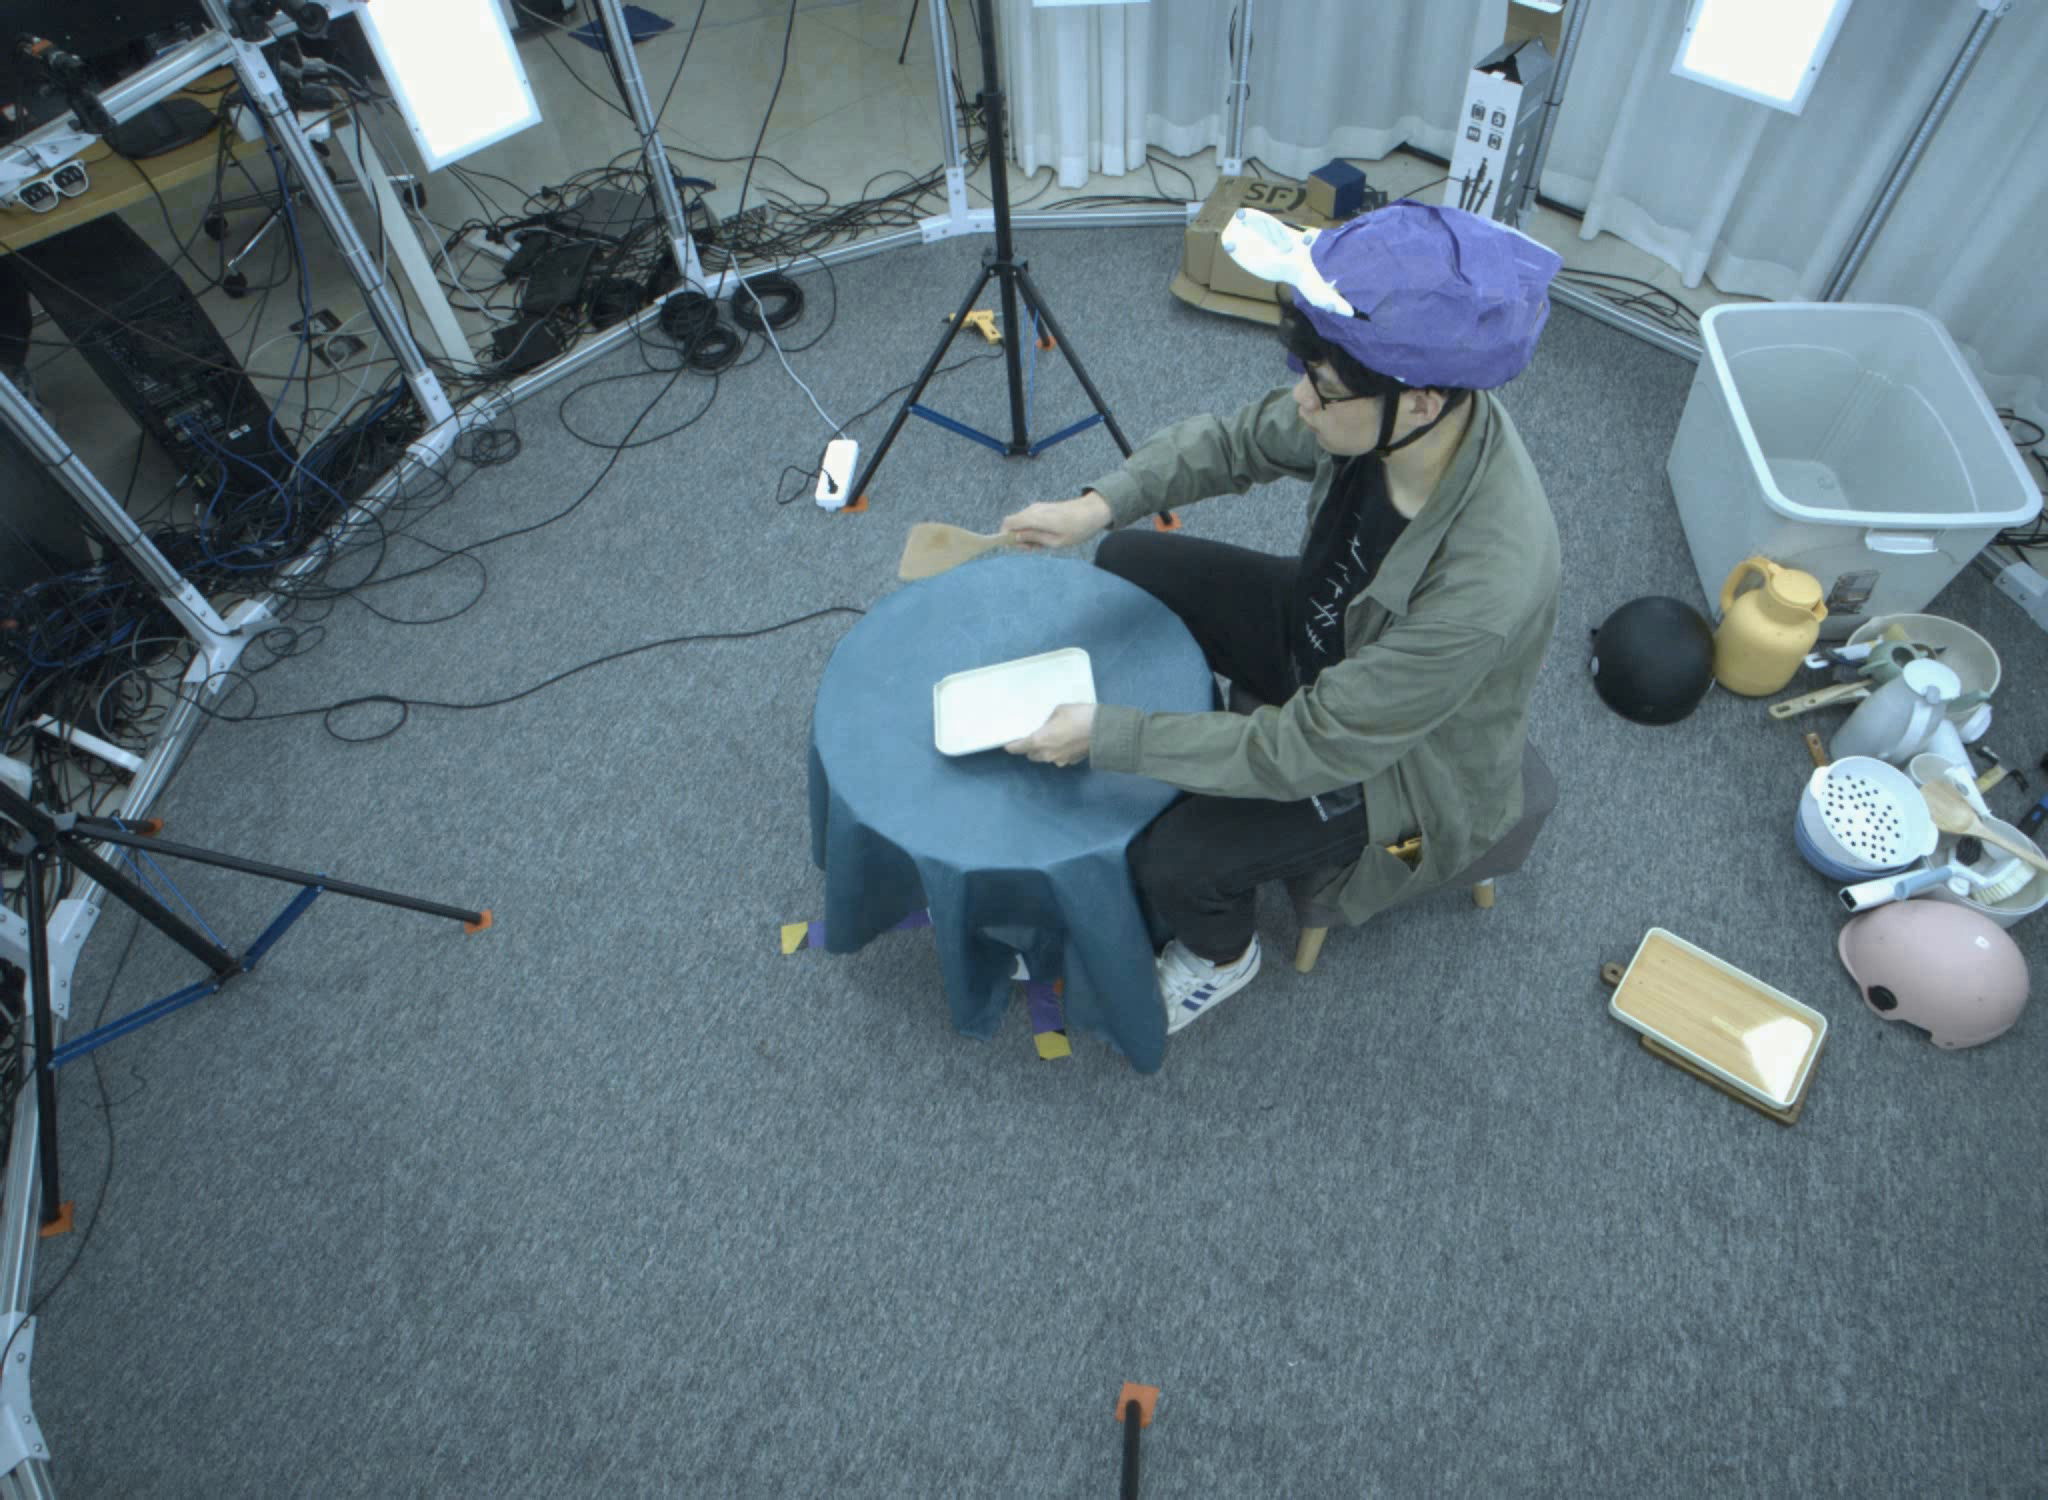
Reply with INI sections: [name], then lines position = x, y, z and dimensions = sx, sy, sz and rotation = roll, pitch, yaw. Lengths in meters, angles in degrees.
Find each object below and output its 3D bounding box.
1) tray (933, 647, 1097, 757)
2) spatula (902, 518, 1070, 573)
[tray]
position = -0.015, -0.069, 1.800
dimensions = 0.239, 0.018, 0.169
rotation = -12, 46, 5
[spatula]
position = -0.045, -0.304, 1.754
dimensions = 0.016, 0.080, 0.333
rotation = 31, 31, 32
